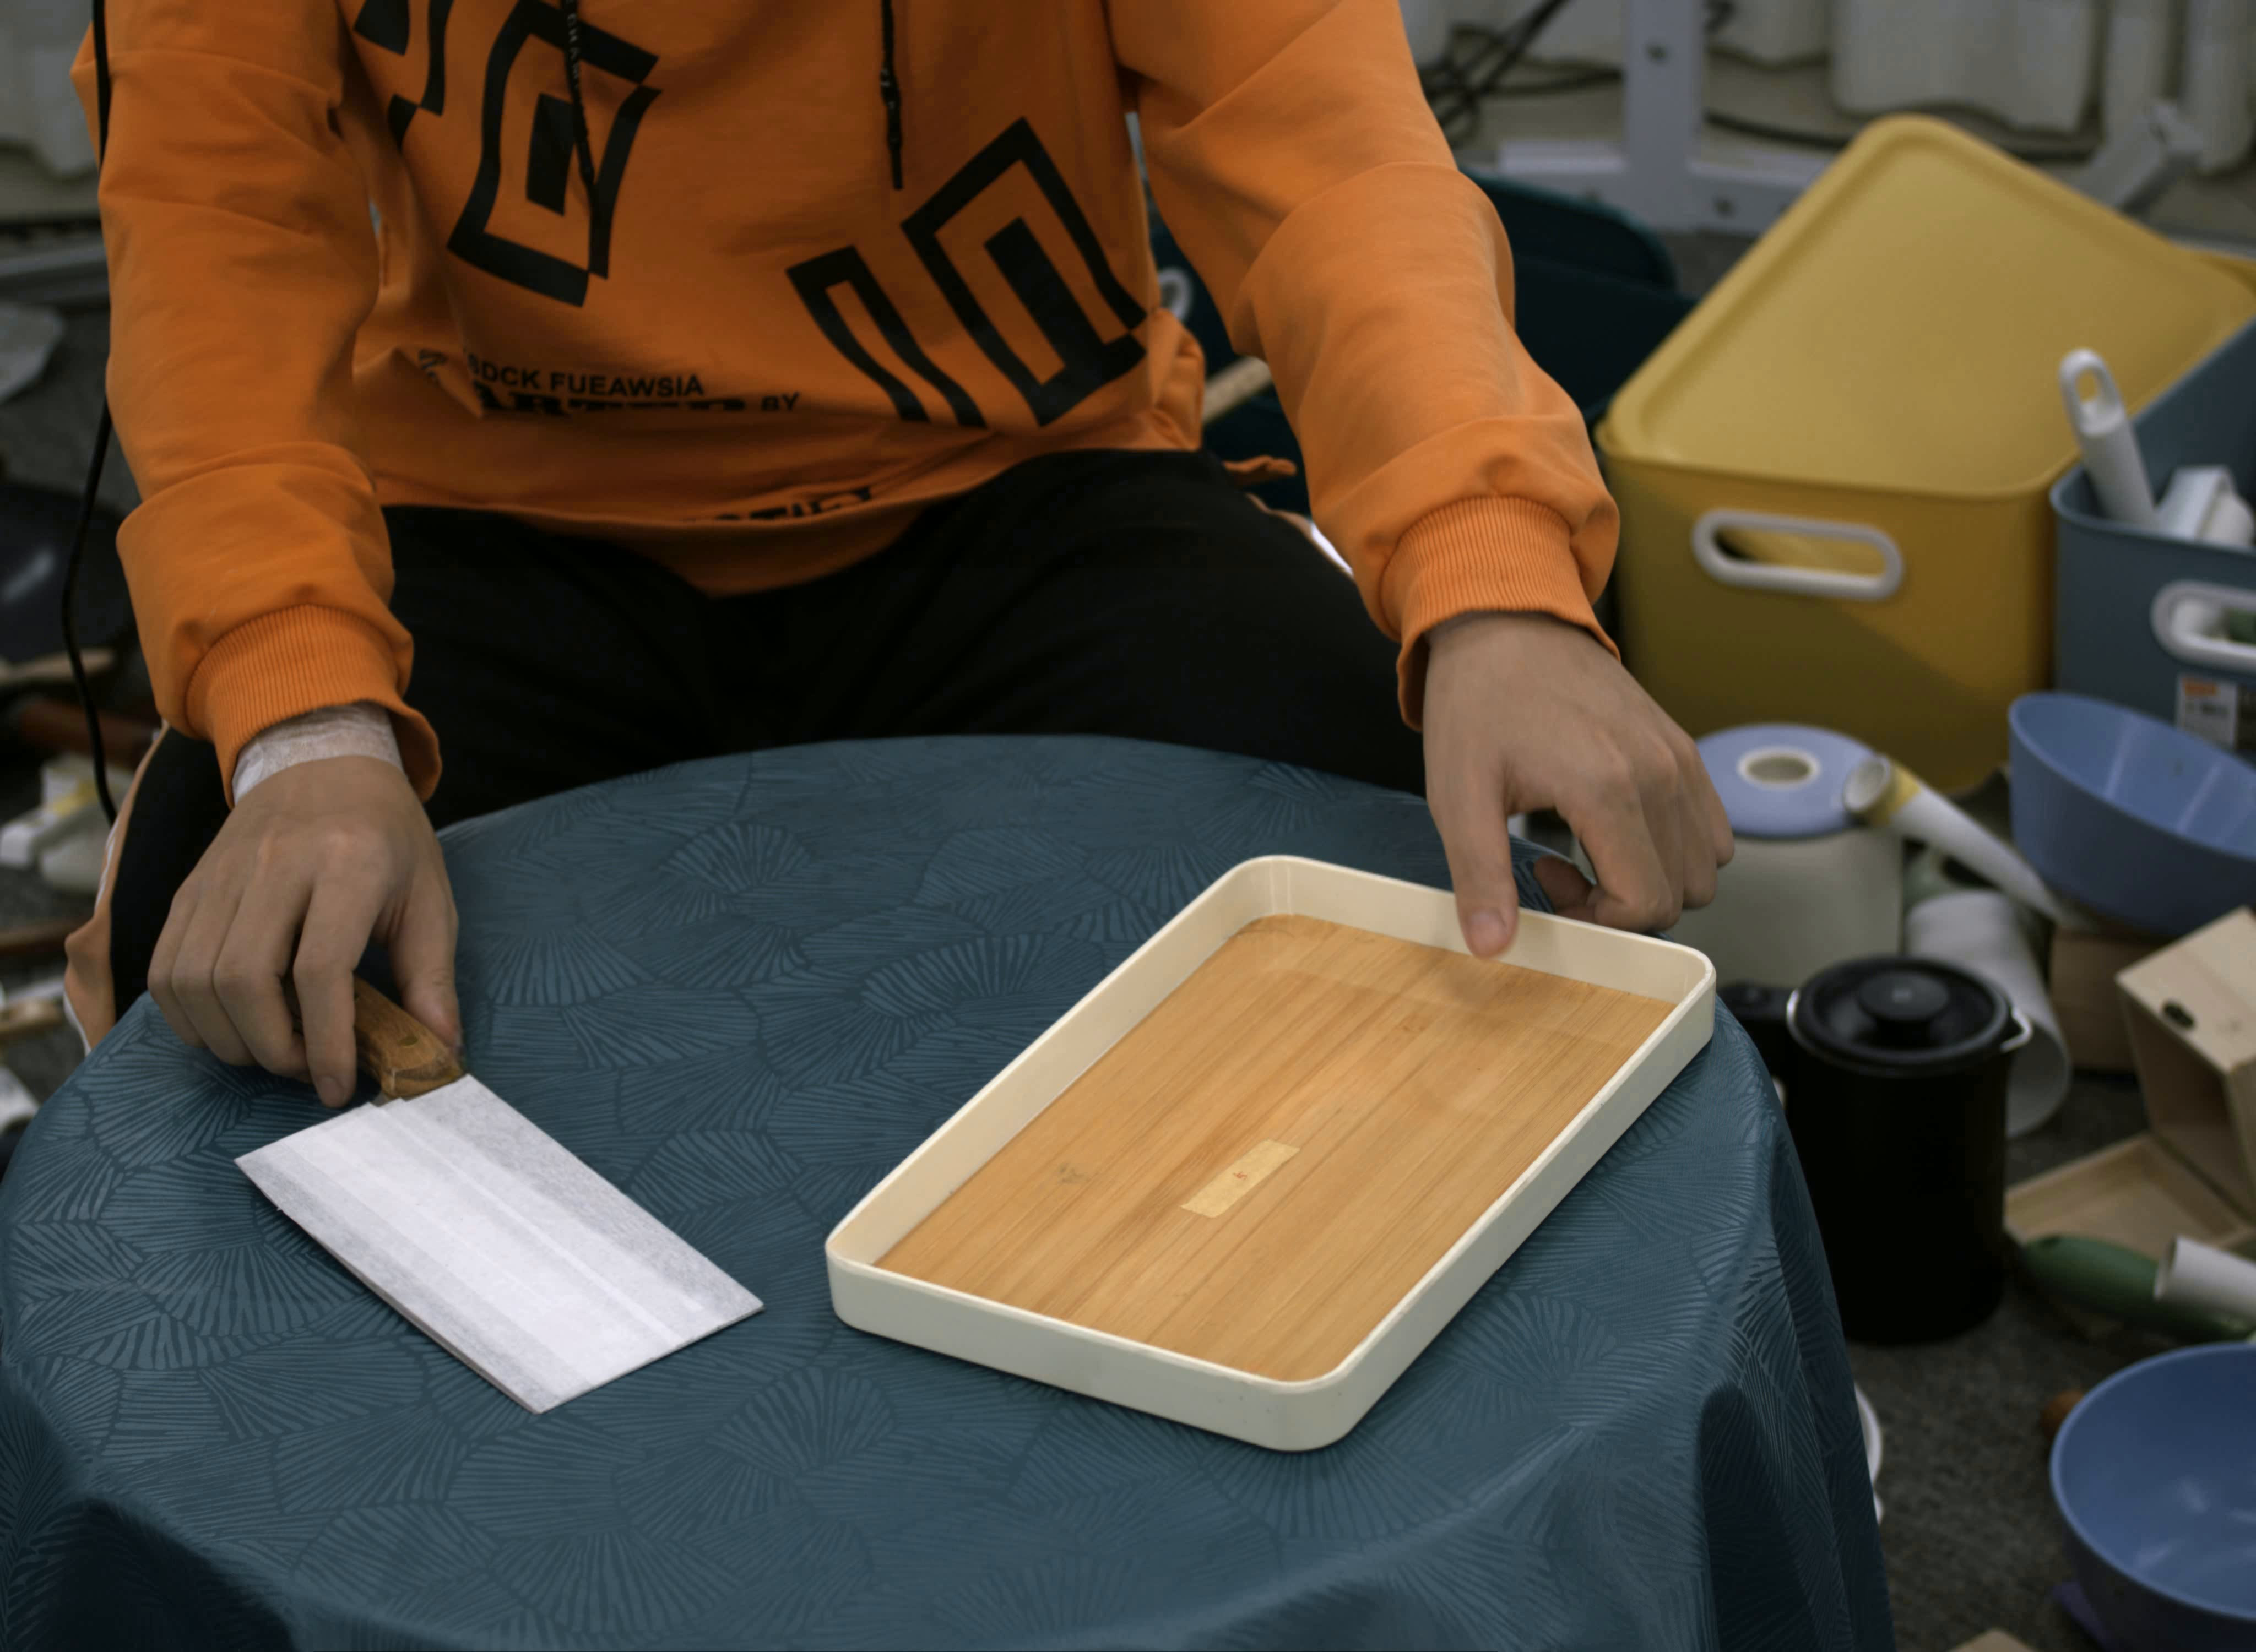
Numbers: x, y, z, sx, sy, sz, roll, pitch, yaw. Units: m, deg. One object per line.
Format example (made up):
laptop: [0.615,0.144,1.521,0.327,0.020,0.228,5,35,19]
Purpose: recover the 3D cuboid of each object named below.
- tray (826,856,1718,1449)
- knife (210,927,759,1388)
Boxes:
tray: [0.053,0.102,1.865,0.190,0.027,0.305,13,32,28]
knife: [-0.243,0.112,1.888,0.094,0.021,0.306,-23,36,-31]
